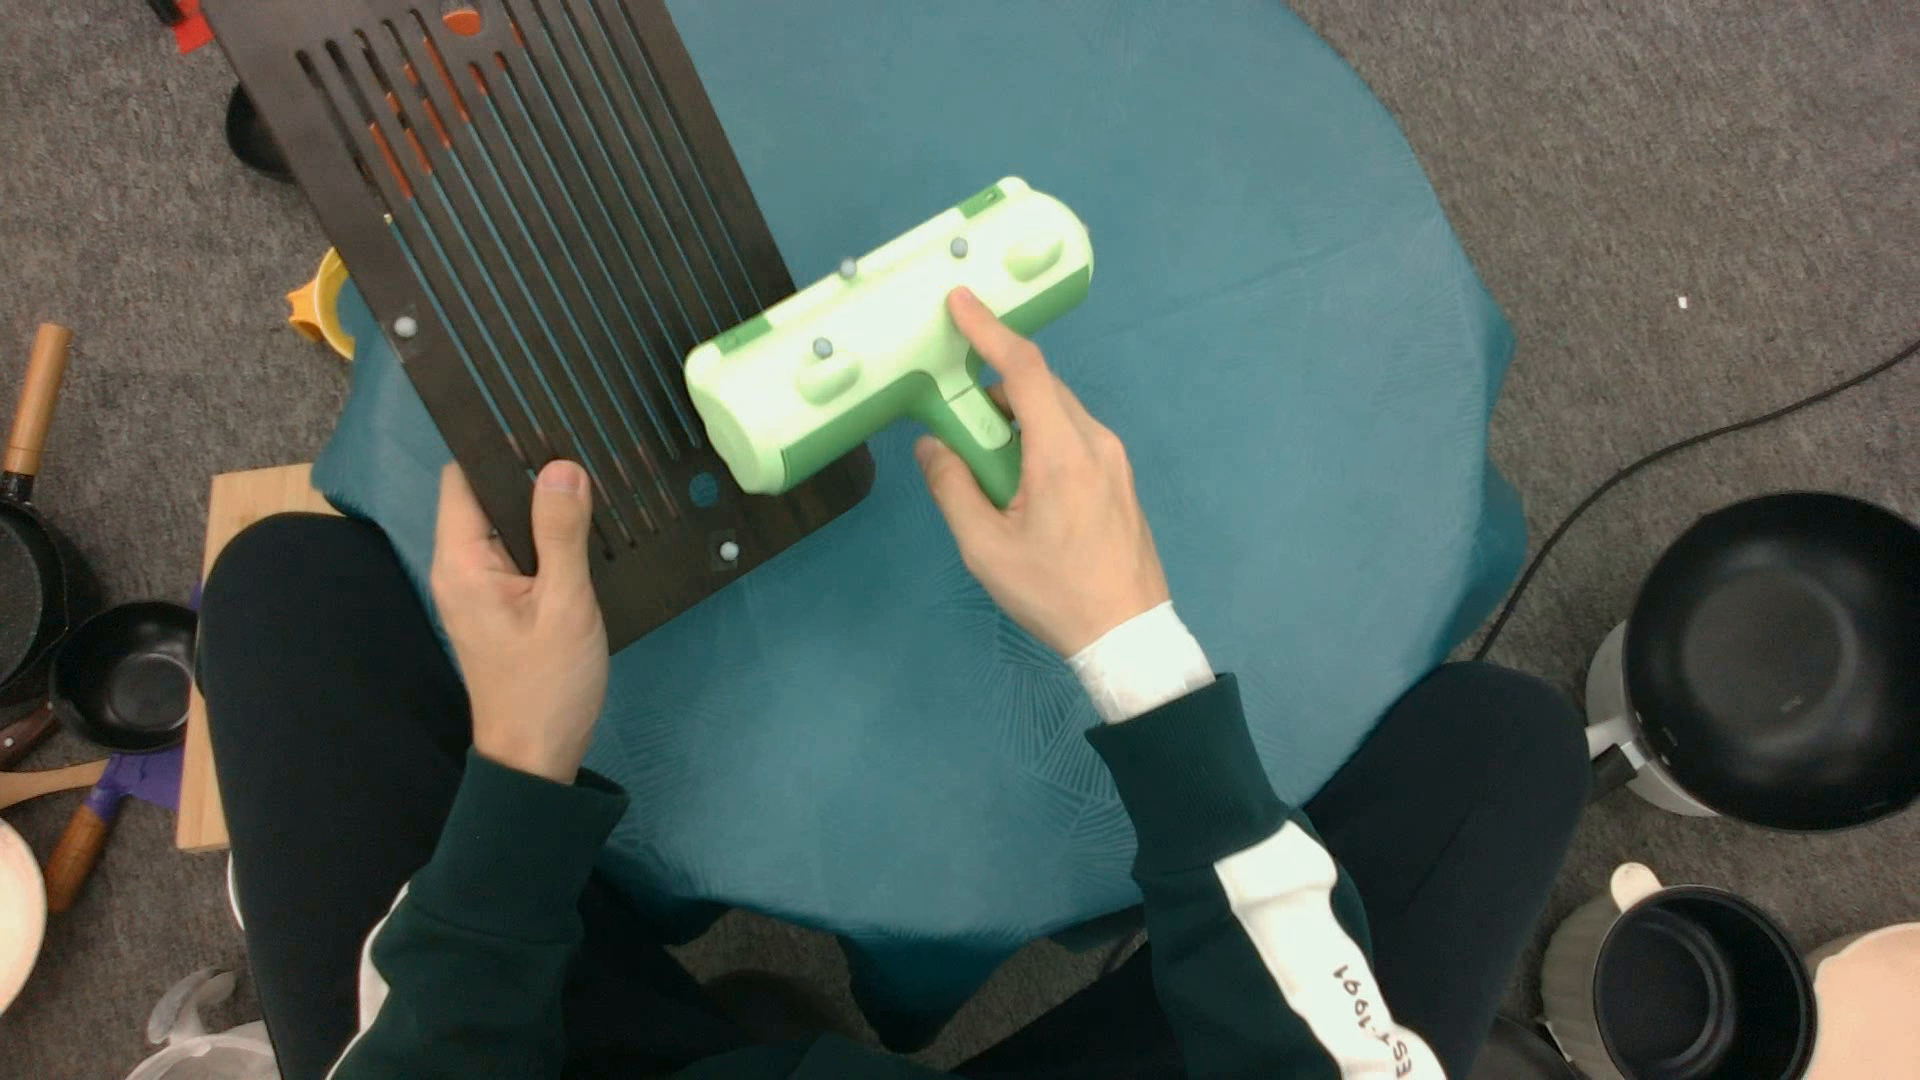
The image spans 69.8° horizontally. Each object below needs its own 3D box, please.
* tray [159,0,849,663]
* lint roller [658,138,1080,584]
[{"bbox_3d":[-0.175,-0.114,0.588,0.171,0.018,0.305,-35,113,-27],"label":"tray"},{"bbox_3d":[0.002,-0.065,0.582,0.199,0.082,0.183,-36,85,-29],"label":"lint roller"}]
